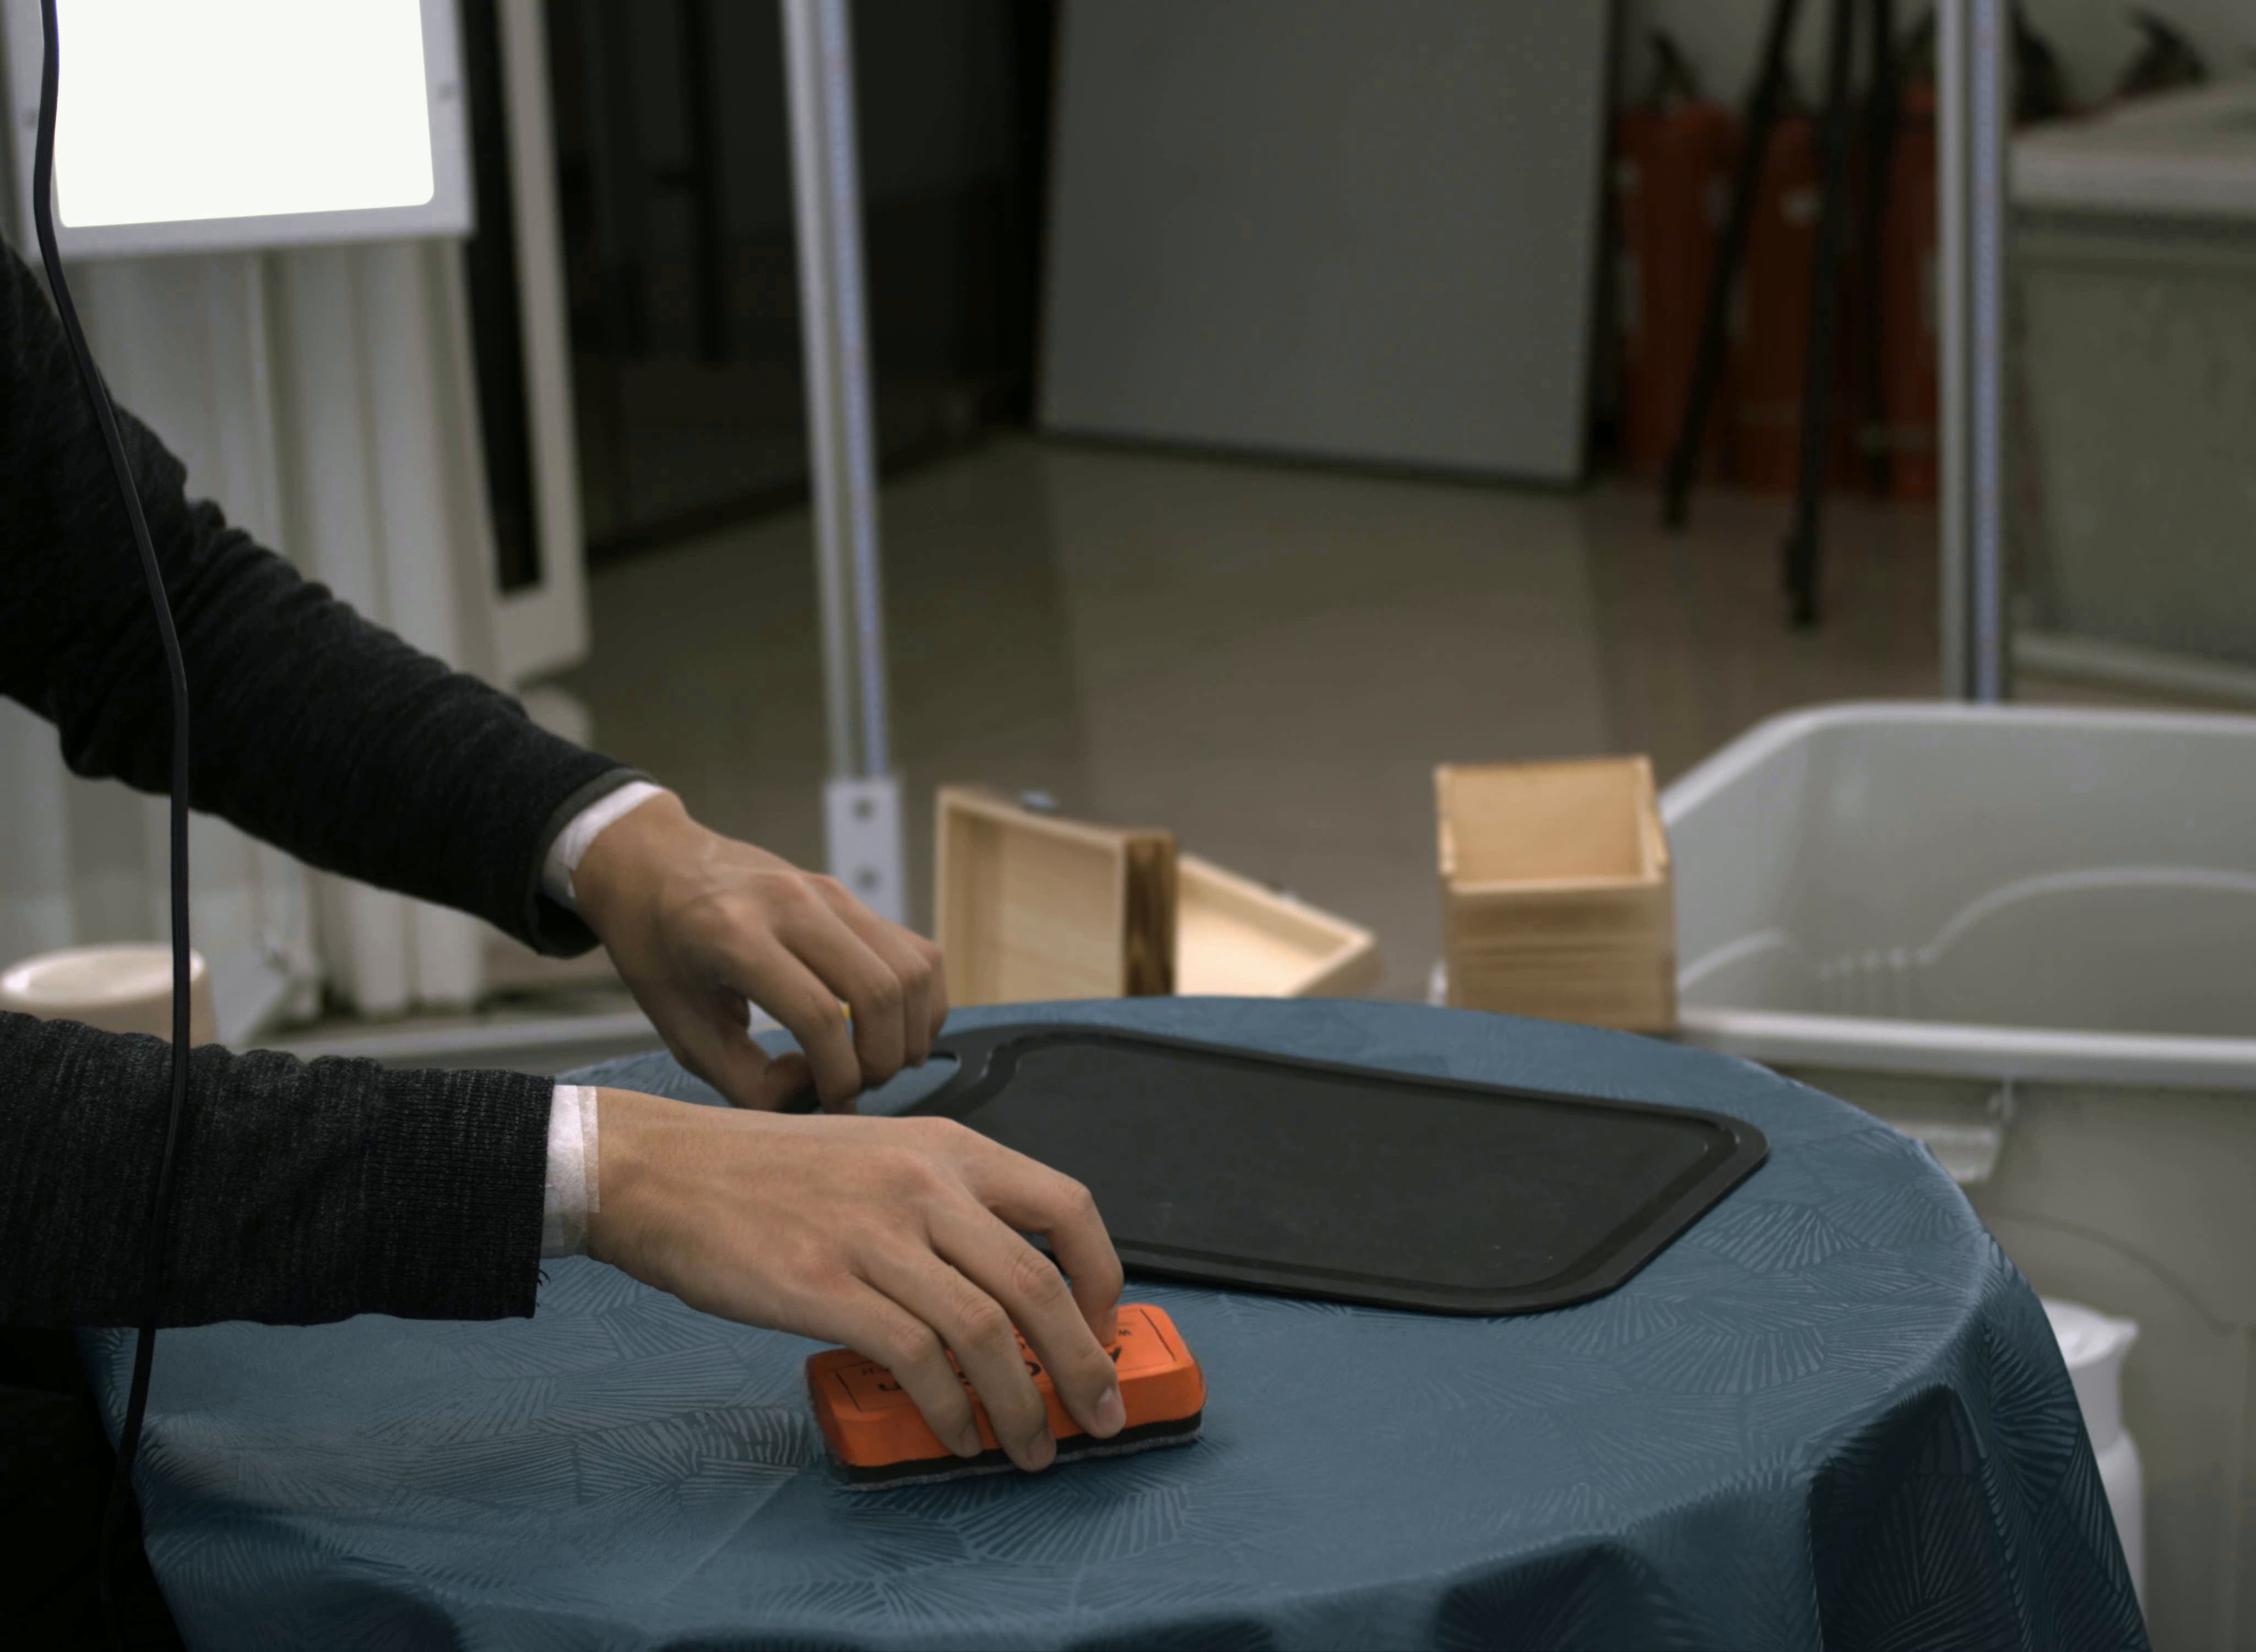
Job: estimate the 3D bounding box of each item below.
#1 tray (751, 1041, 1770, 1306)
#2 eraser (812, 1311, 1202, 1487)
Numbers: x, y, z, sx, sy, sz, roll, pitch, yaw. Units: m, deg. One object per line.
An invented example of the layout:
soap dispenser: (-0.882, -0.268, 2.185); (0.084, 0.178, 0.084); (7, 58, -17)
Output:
tray: (0.036, 0.110, 1.773); (0.326, 0.010, 0.208); (6, 16, 28)
eraser: (-0.035, 0.164, 1.548); (0.106, 0.023, 0.059); (-7, 14, -10)
